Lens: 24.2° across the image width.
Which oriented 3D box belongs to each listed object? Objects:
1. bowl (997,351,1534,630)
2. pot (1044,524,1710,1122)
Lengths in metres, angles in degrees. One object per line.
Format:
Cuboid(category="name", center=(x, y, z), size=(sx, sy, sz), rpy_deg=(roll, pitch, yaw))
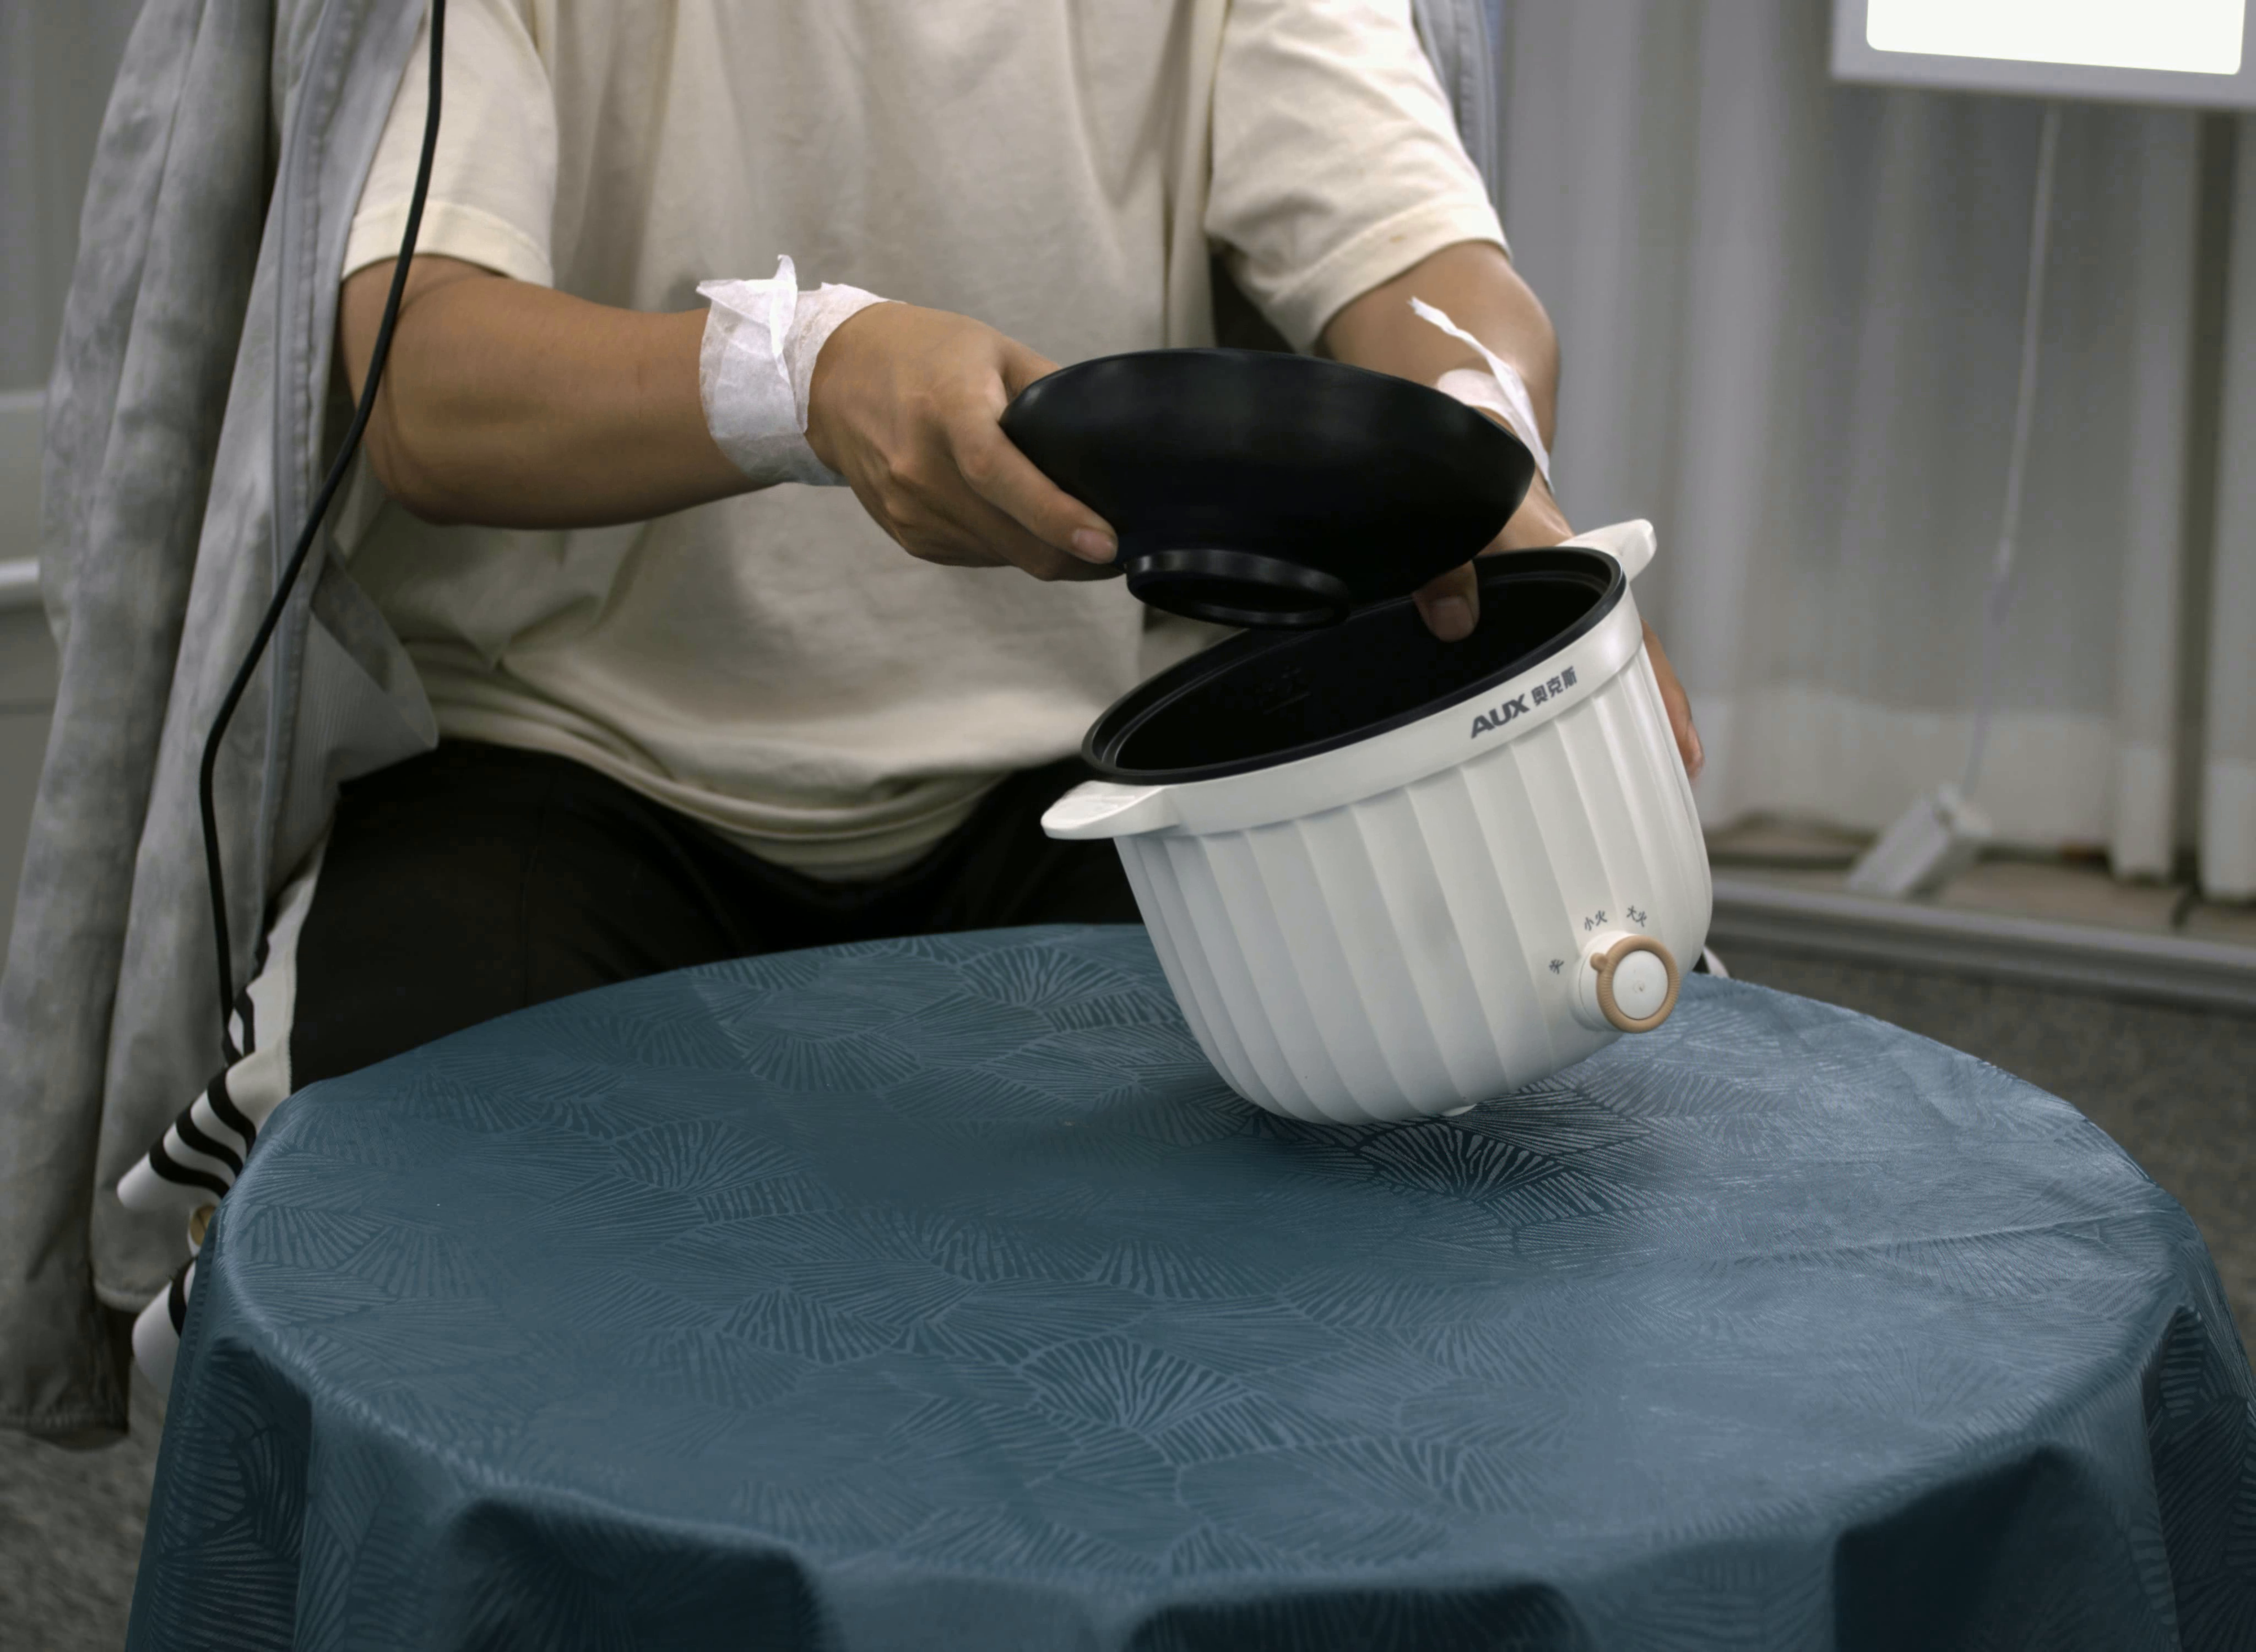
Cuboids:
Cuboid(category="bowl", center=(0.040, -0.100, 1.646), size=(0.169, 0.066, 0.138), rpy_deg=(6, -11, 7))
Cuboid(category="pot", center=(0.096, 0.006, 1.675), size=(0.241, 0.144, 0.189), rpy_deg=(-29, 14, -27))
